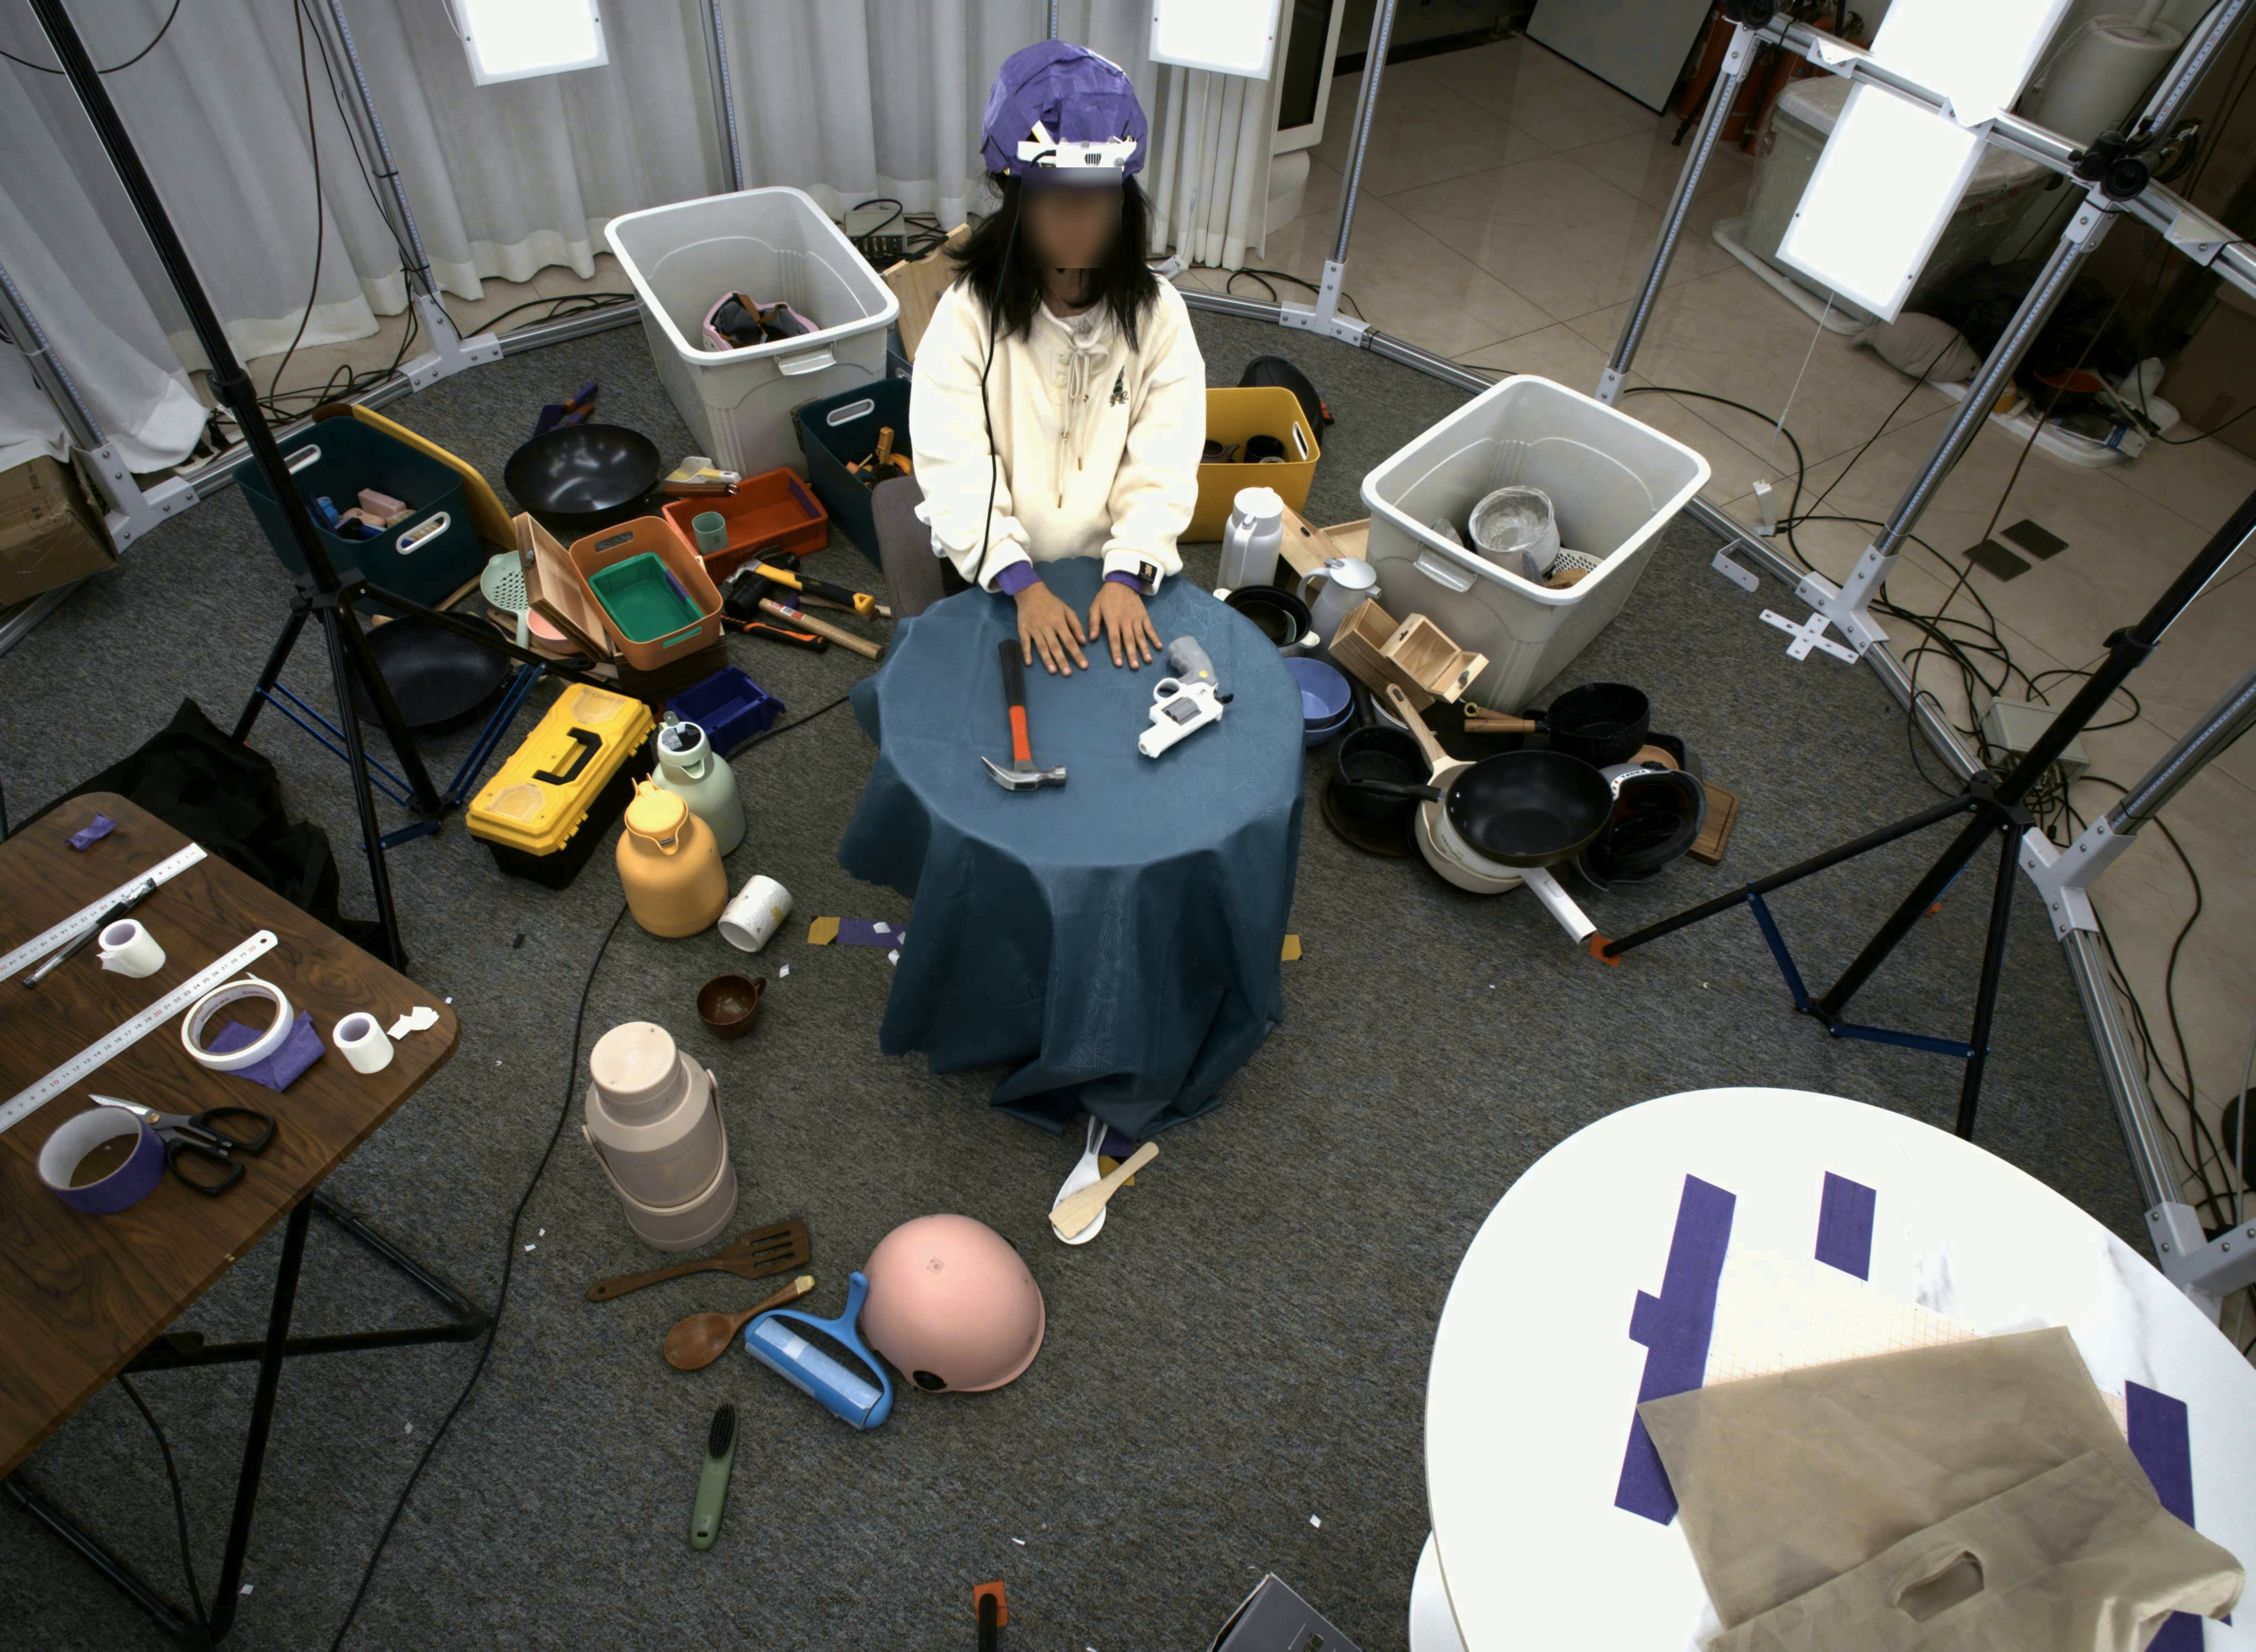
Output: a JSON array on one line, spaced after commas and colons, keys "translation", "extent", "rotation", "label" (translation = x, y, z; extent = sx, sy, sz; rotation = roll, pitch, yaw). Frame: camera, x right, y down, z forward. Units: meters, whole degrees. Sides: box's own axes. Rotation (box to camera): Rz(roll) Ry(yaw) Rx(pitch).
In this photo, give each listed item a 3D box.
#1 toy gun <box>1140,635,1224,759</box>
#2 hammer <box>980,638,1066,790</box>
[{"translation": [0.063, -0.184, 1.807], "extent": [0.143, 0.038, 0.211], "rotation": [40, 57, 24], "label": "toy gun"}, {"translation": [-0.155, -0.160, 1.780], "extent": [0.110, 0.026, 0.284], "rotation": [-9, 50, -1], "label": "hammer"}]
